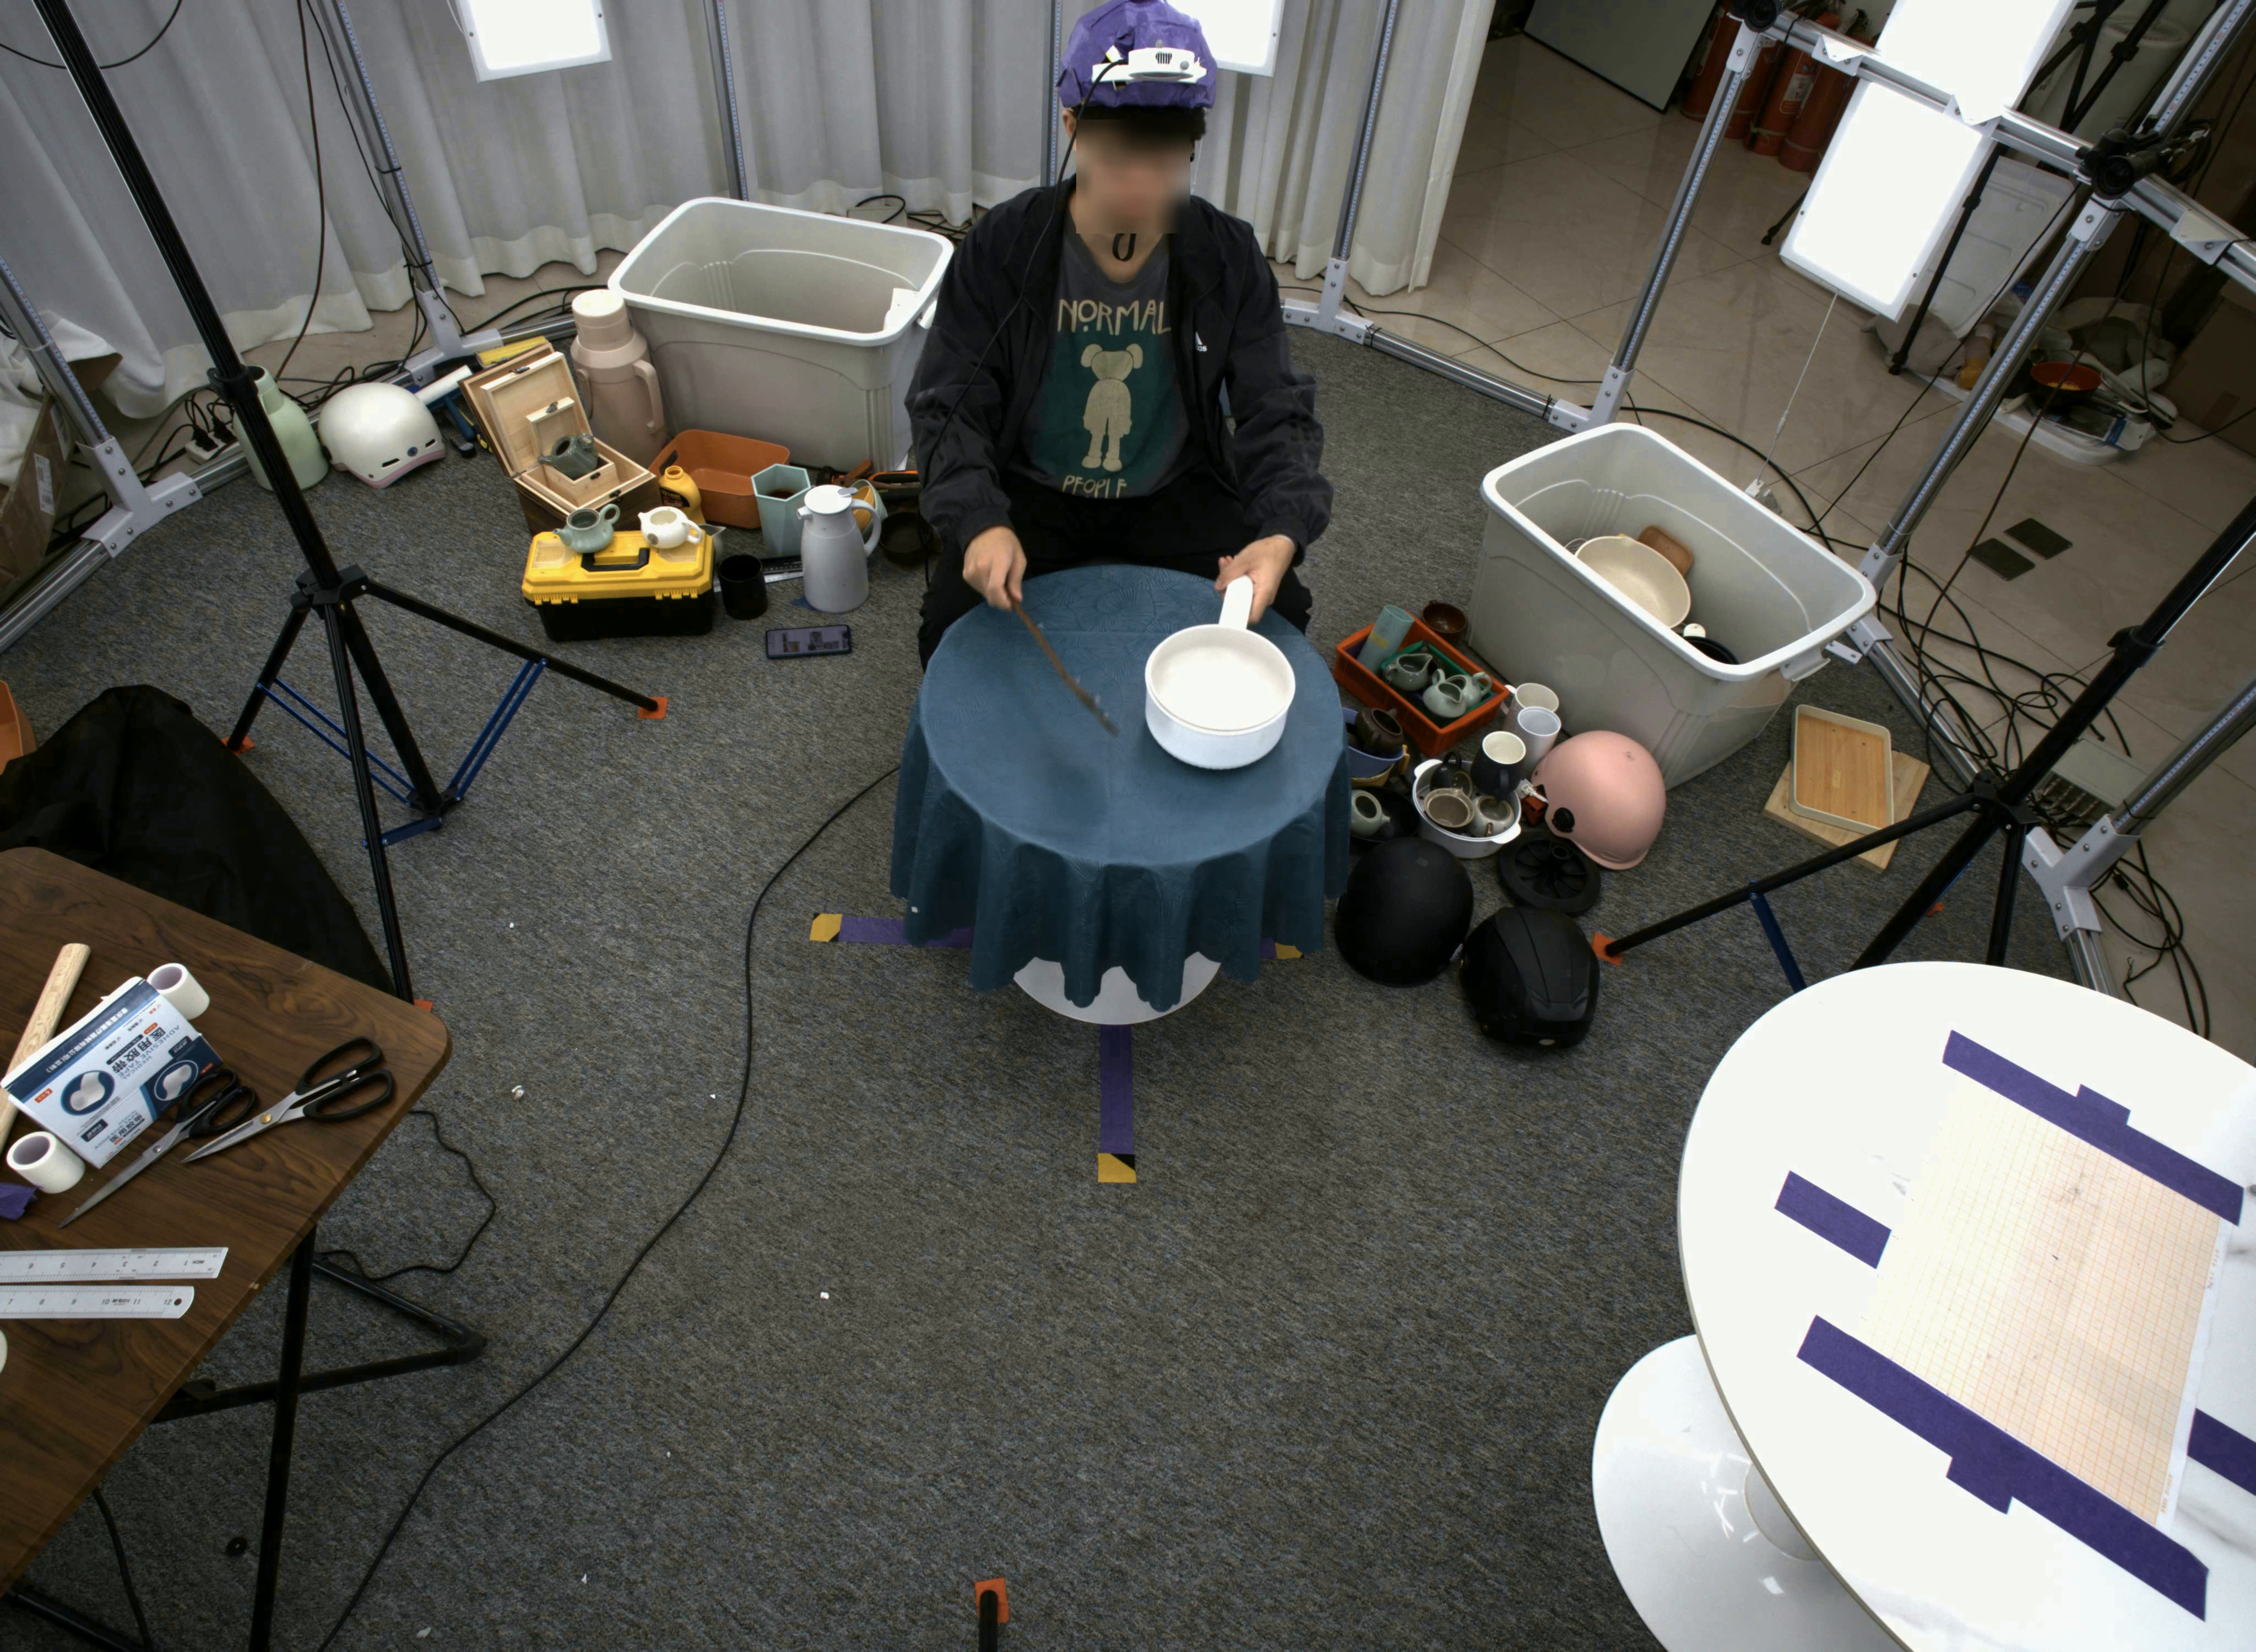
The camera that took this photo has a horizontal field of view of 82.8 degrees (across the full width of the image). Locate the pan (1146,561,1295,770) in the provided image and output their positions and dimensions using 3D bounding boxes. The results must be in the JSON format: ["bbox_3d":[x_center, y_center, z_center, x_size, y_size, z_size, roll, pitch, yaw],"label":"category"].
[{"bbox_3d":[0.138,-0.227,1.806,0.201,0.099,0.363,10,49,7],"label":"pan"}]

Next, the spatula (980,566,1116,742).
[{"bbox_3d":[-0.121,-0.248,1.757,0.016,0.094,0.395,-39,52,6],"label":"spatula"}]
